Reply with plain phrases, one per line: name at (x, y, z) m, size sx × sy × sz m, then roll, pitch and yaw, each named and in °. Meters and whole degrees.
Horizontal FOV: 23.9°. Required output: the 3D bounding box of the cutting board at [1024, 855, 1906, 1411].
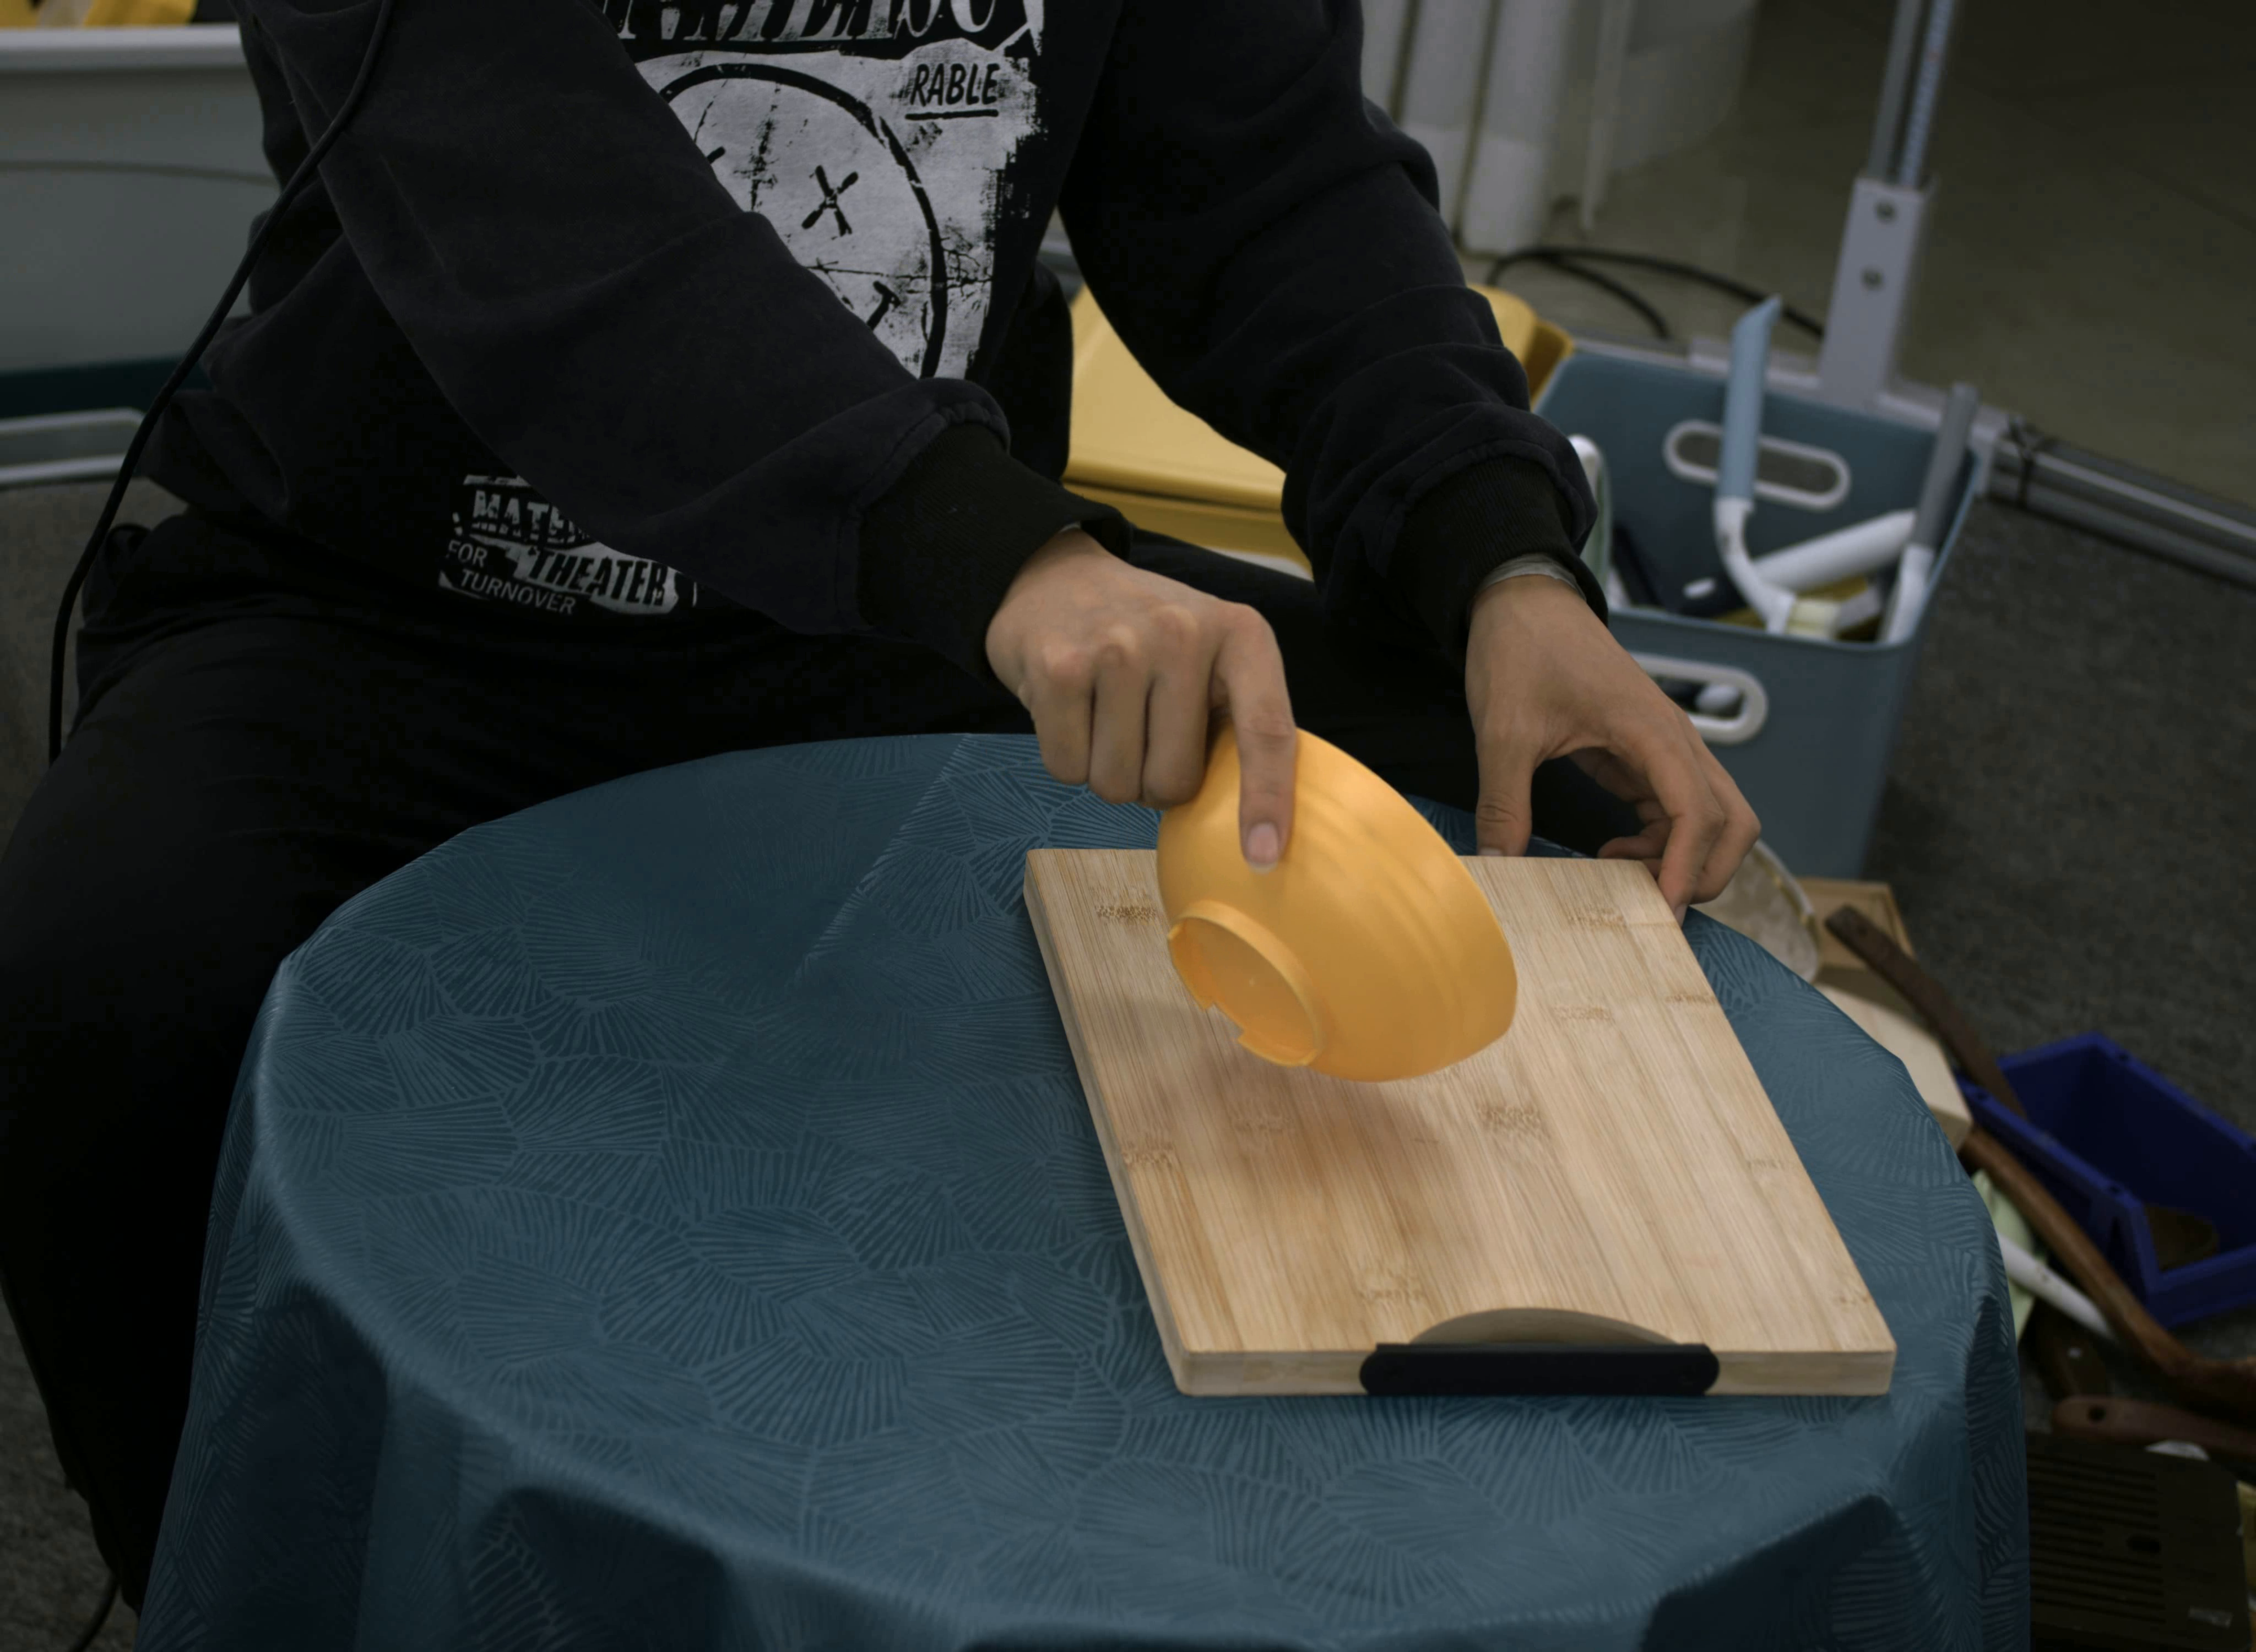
cutting board at (0.106, 0.101, 1.851) m, size 0.249 × 0.023 × 0.351 m, roll 0°, pitch 27°, yaw -11°

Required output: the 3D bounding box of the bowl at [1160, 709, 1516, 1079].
bowl at (0.057, 0.035, 1.781) m, size 0.146 × 0.144 × 0.060 m, roll 29°, pitch 58°, yaw 36°
